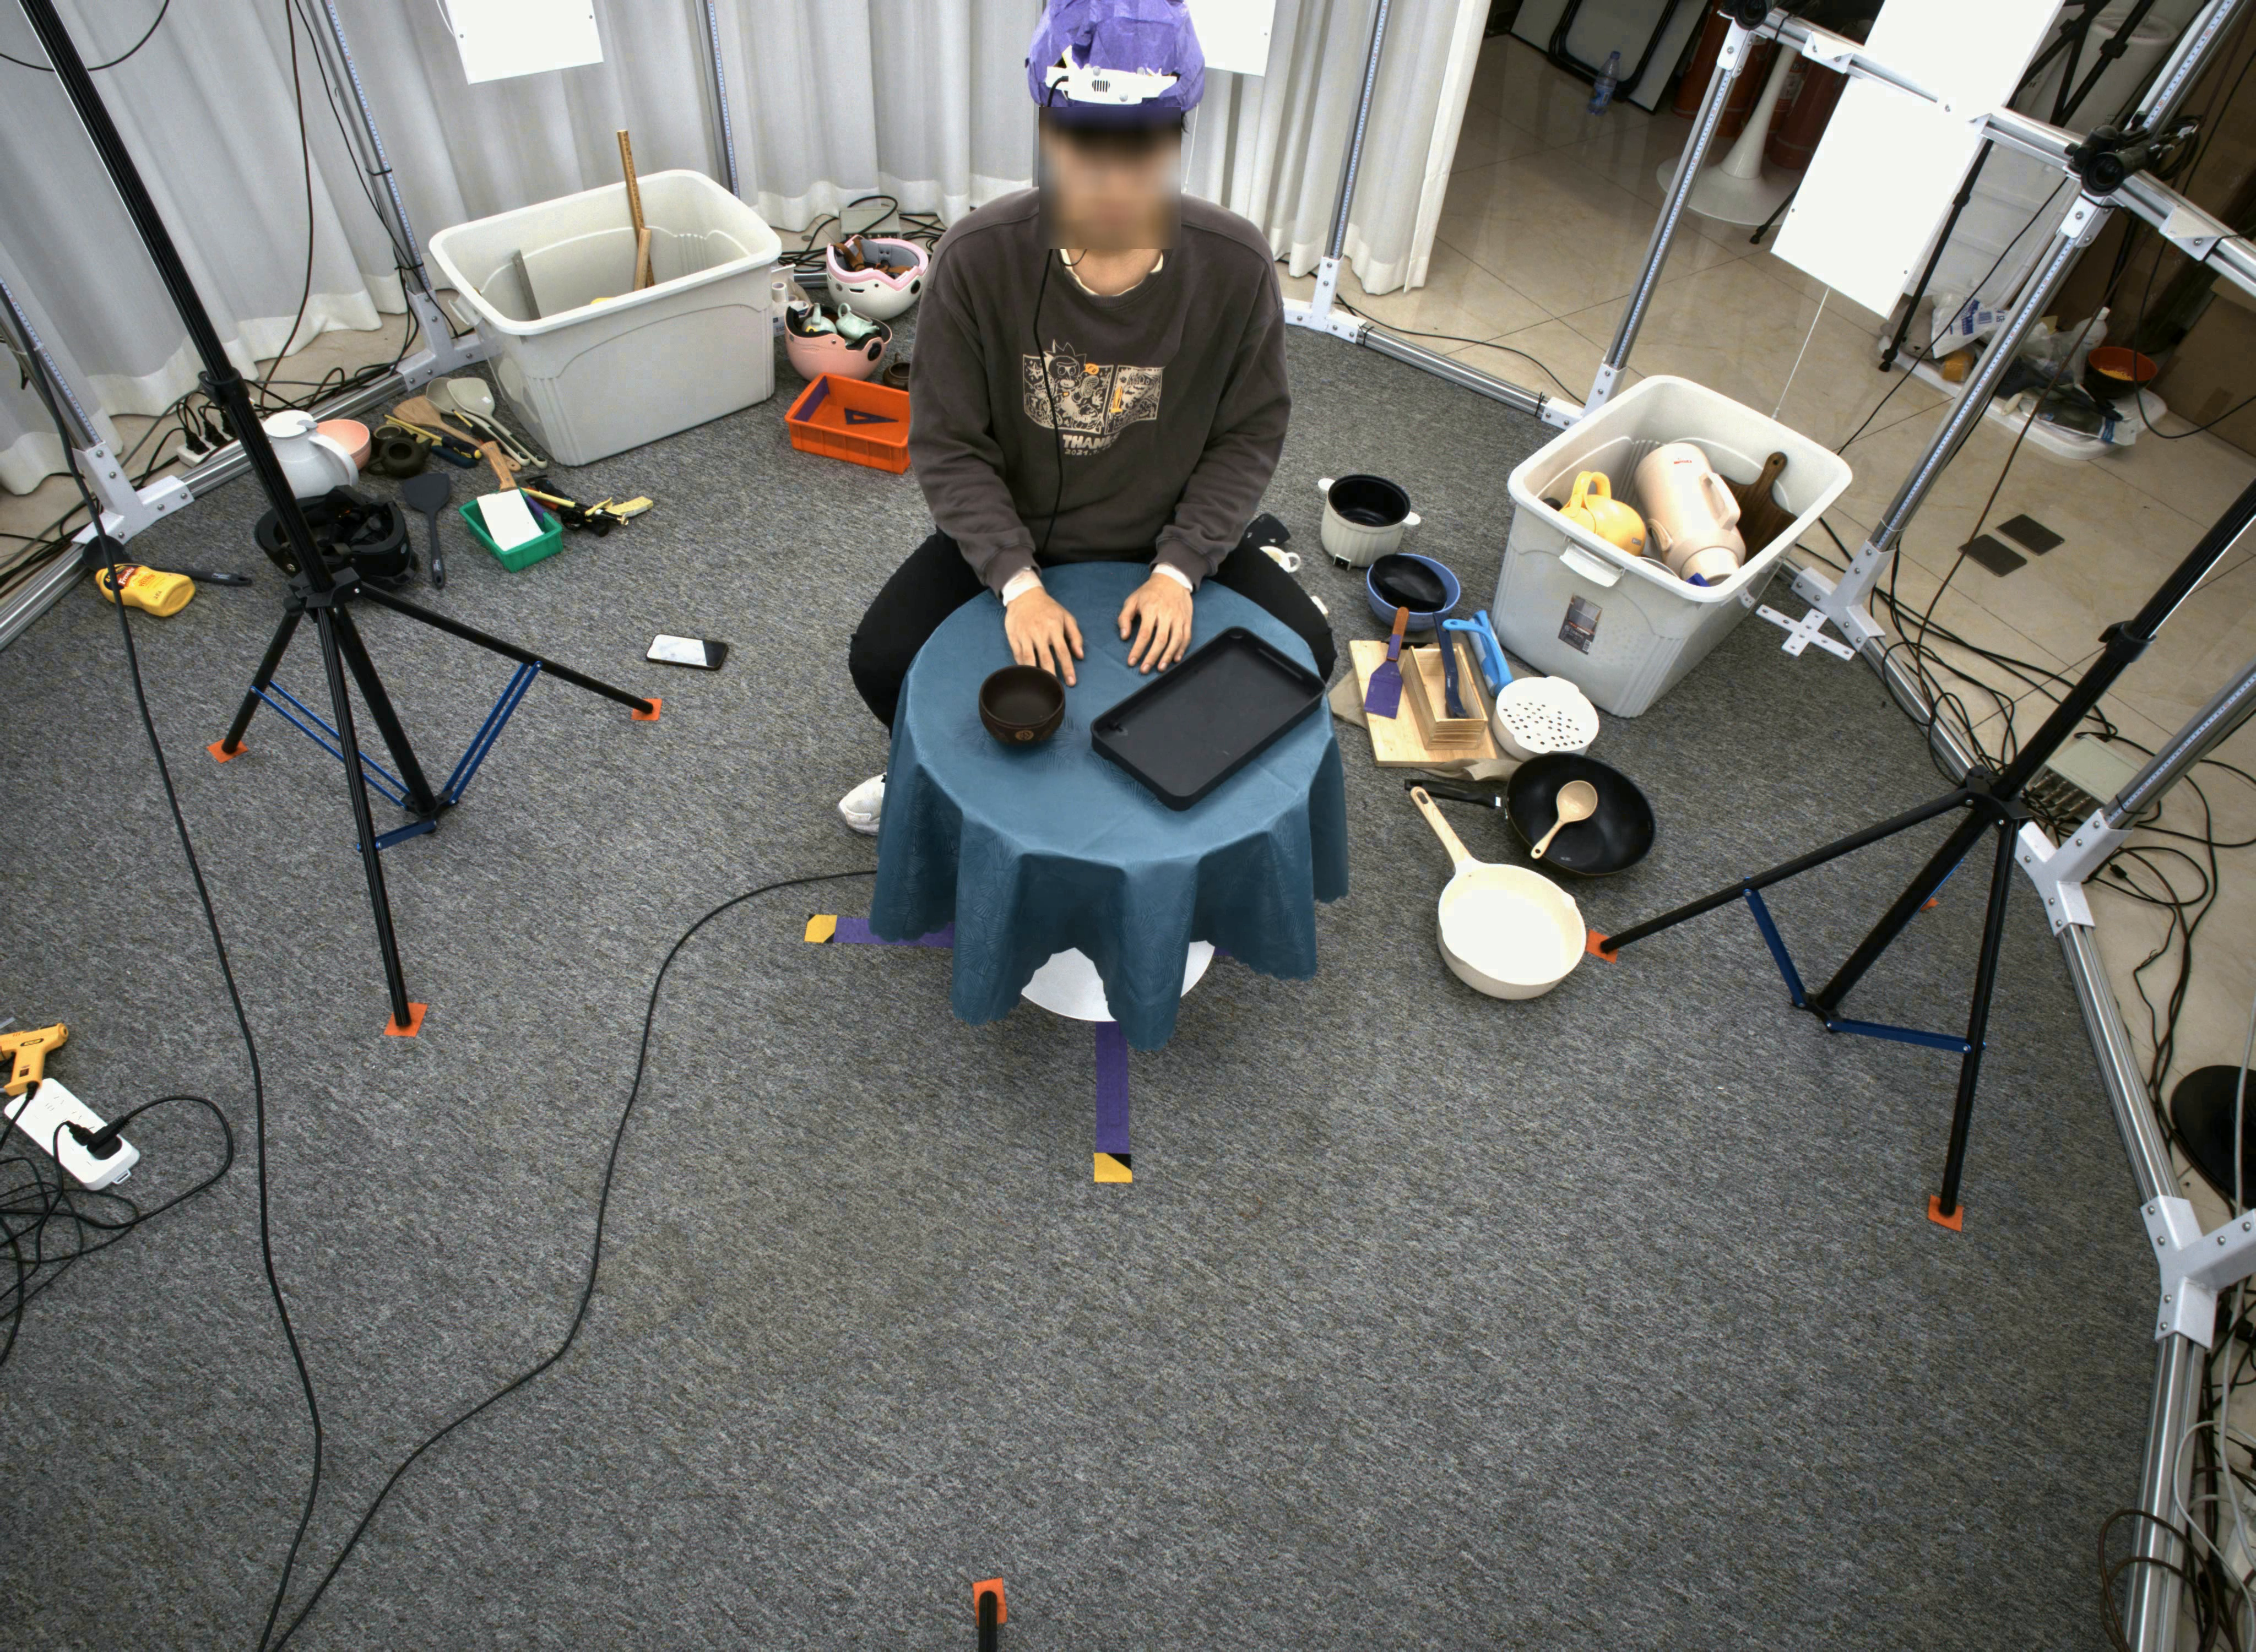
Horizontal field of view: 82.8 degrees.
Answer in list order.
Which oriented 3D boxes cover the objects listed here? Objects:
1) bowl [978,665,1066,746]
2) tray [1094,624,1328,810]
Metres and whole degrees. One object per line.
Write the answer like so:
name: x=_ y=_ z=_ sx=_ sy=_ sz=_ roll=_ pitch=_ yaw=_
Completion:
bowl: x=-0.144 y=-0.156 z=1.746 sx=0.118 sy=0.068 sz=0.121 roll=1 pitch=48 yaw=-2
tray: x=0.118 y=-0.158 z=1.788 sx=0.187 sy=0.036 sz=0.321 roll=35 pitch=56 yaw=25
